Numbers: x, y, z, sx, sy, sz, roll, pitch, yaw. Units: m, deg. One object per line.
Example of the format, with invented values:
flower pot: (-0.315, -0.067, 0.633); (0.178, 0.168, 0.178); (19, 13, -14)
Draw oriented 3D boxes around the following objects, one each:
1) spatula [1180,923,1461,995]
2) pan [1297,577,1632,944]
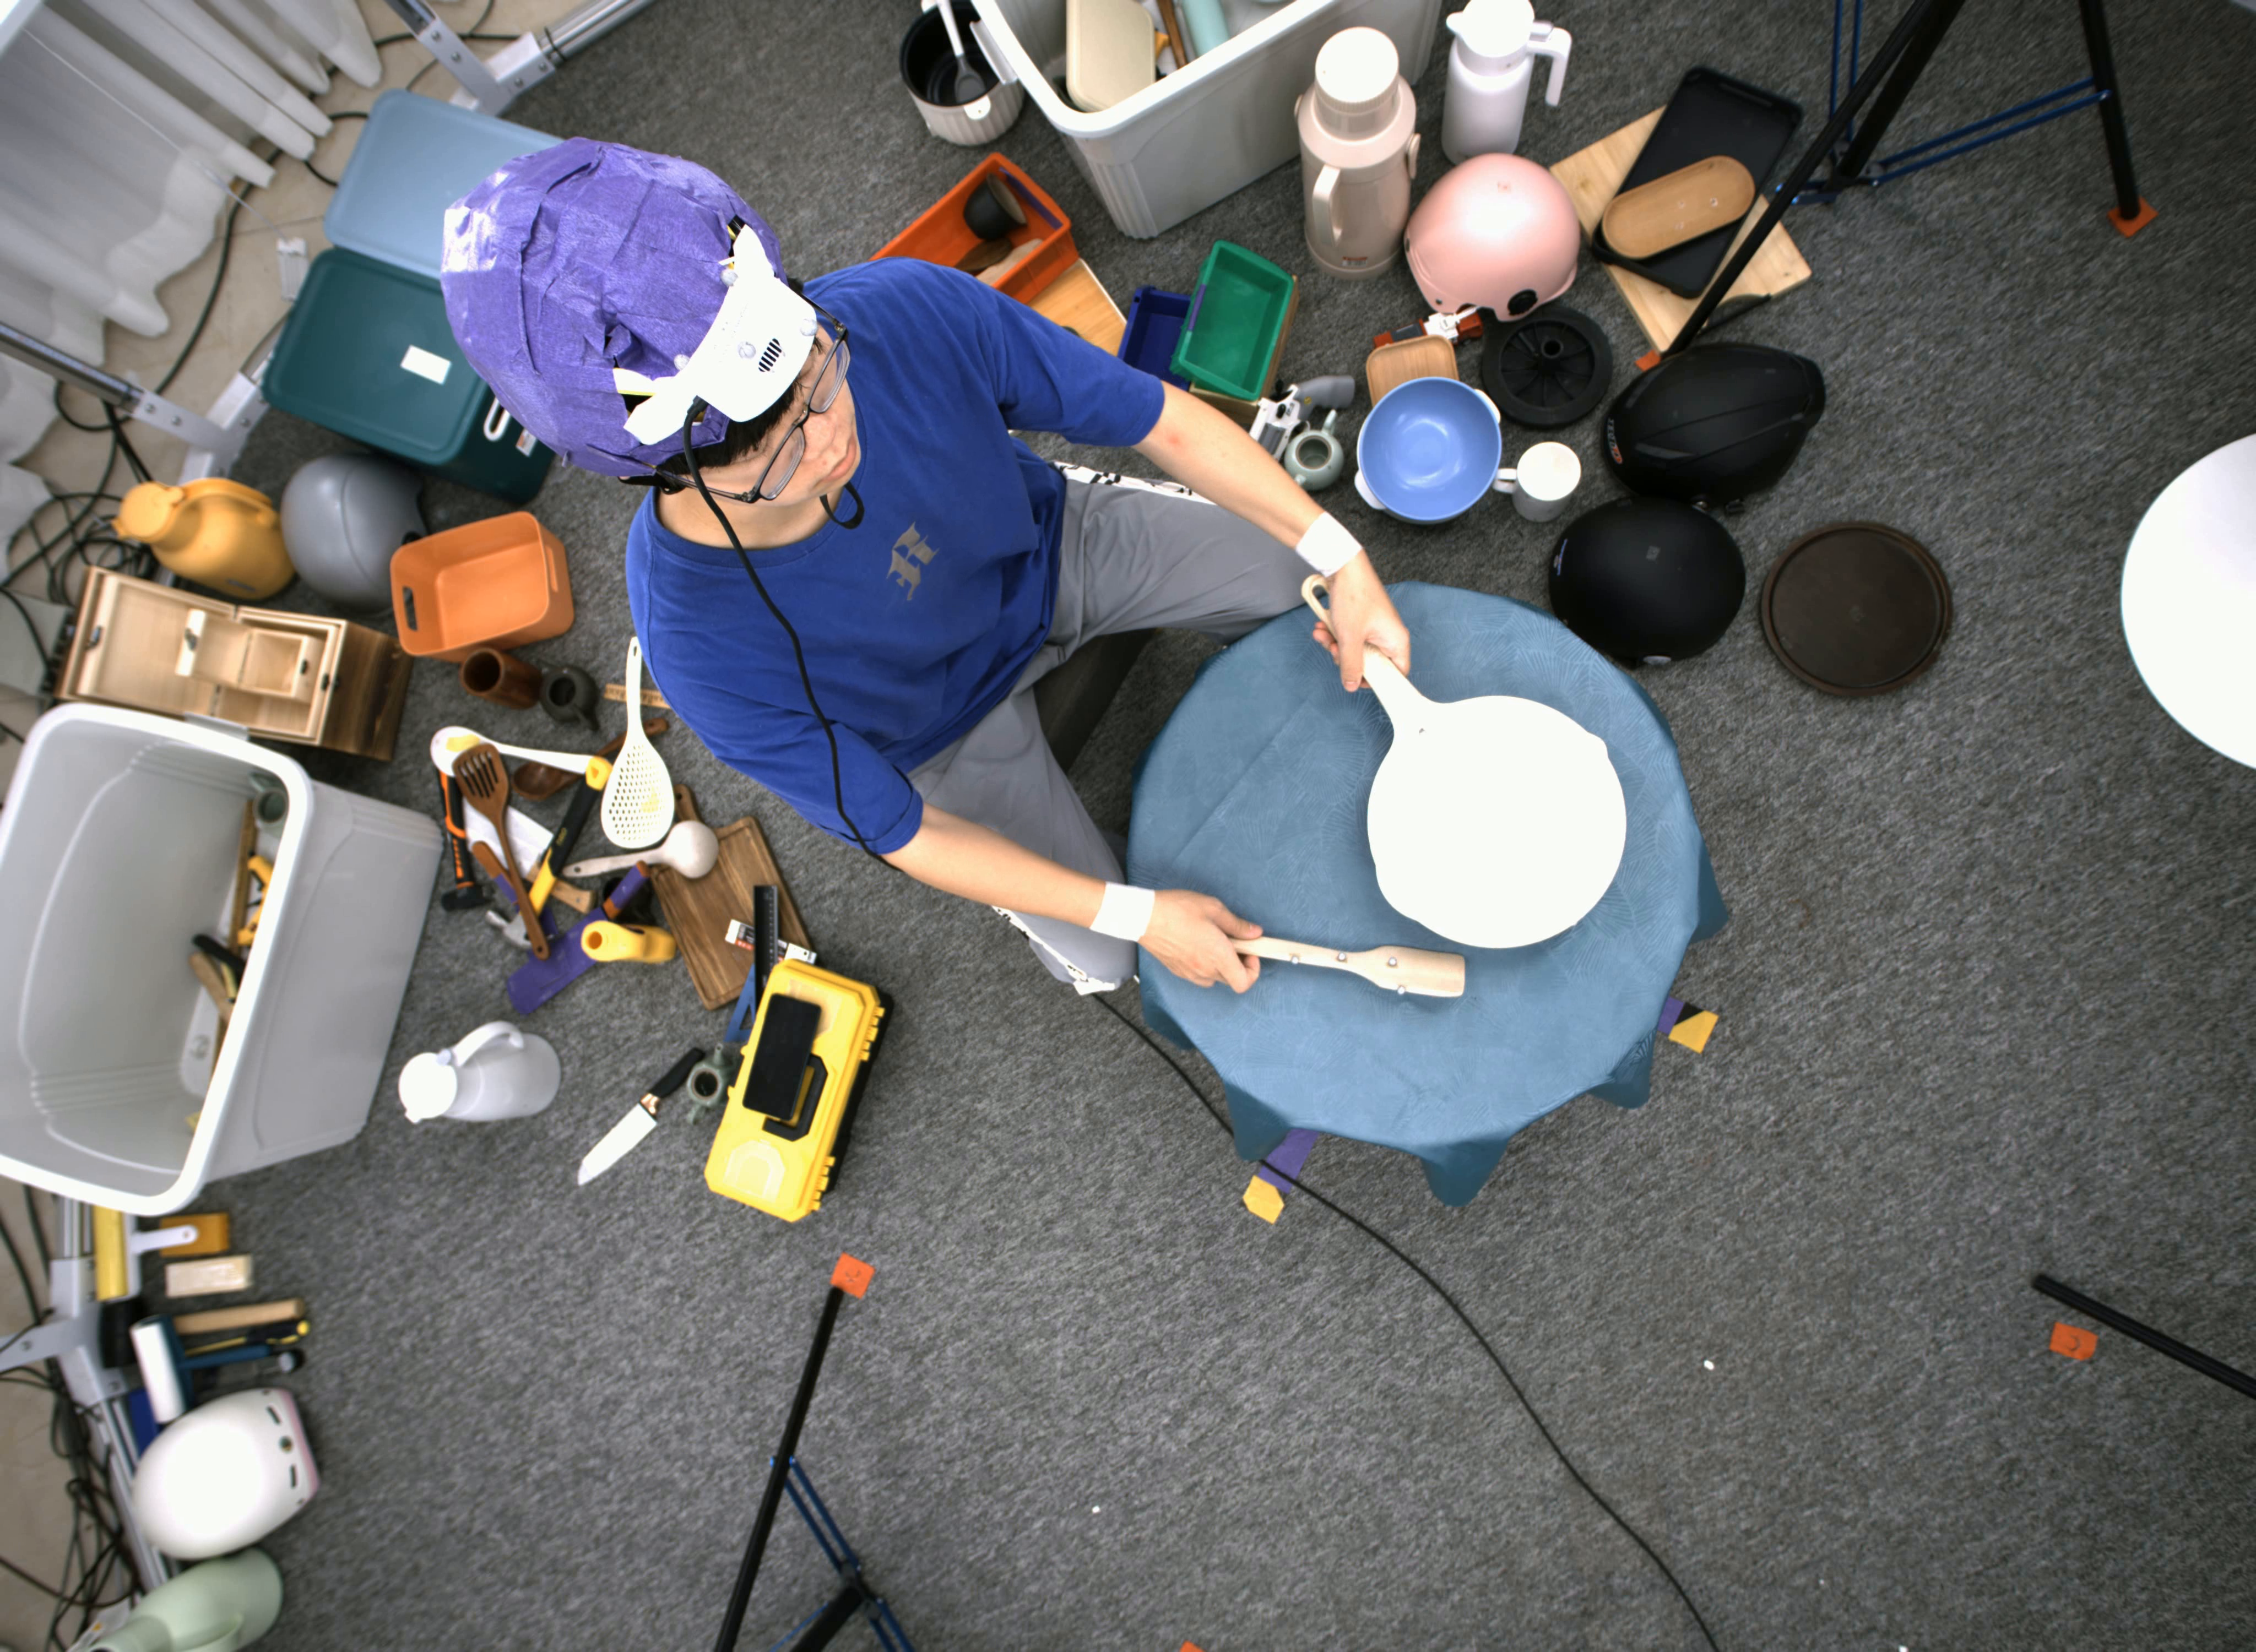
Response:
spatula: (0.198, 0.132, 1.436); (0.294, 0.070, 0.011); (8, 121, 10)
pan: (0.320, -0.080, 1.406); (0.265, 0.102, 0.432); (-38, 81, 8)
